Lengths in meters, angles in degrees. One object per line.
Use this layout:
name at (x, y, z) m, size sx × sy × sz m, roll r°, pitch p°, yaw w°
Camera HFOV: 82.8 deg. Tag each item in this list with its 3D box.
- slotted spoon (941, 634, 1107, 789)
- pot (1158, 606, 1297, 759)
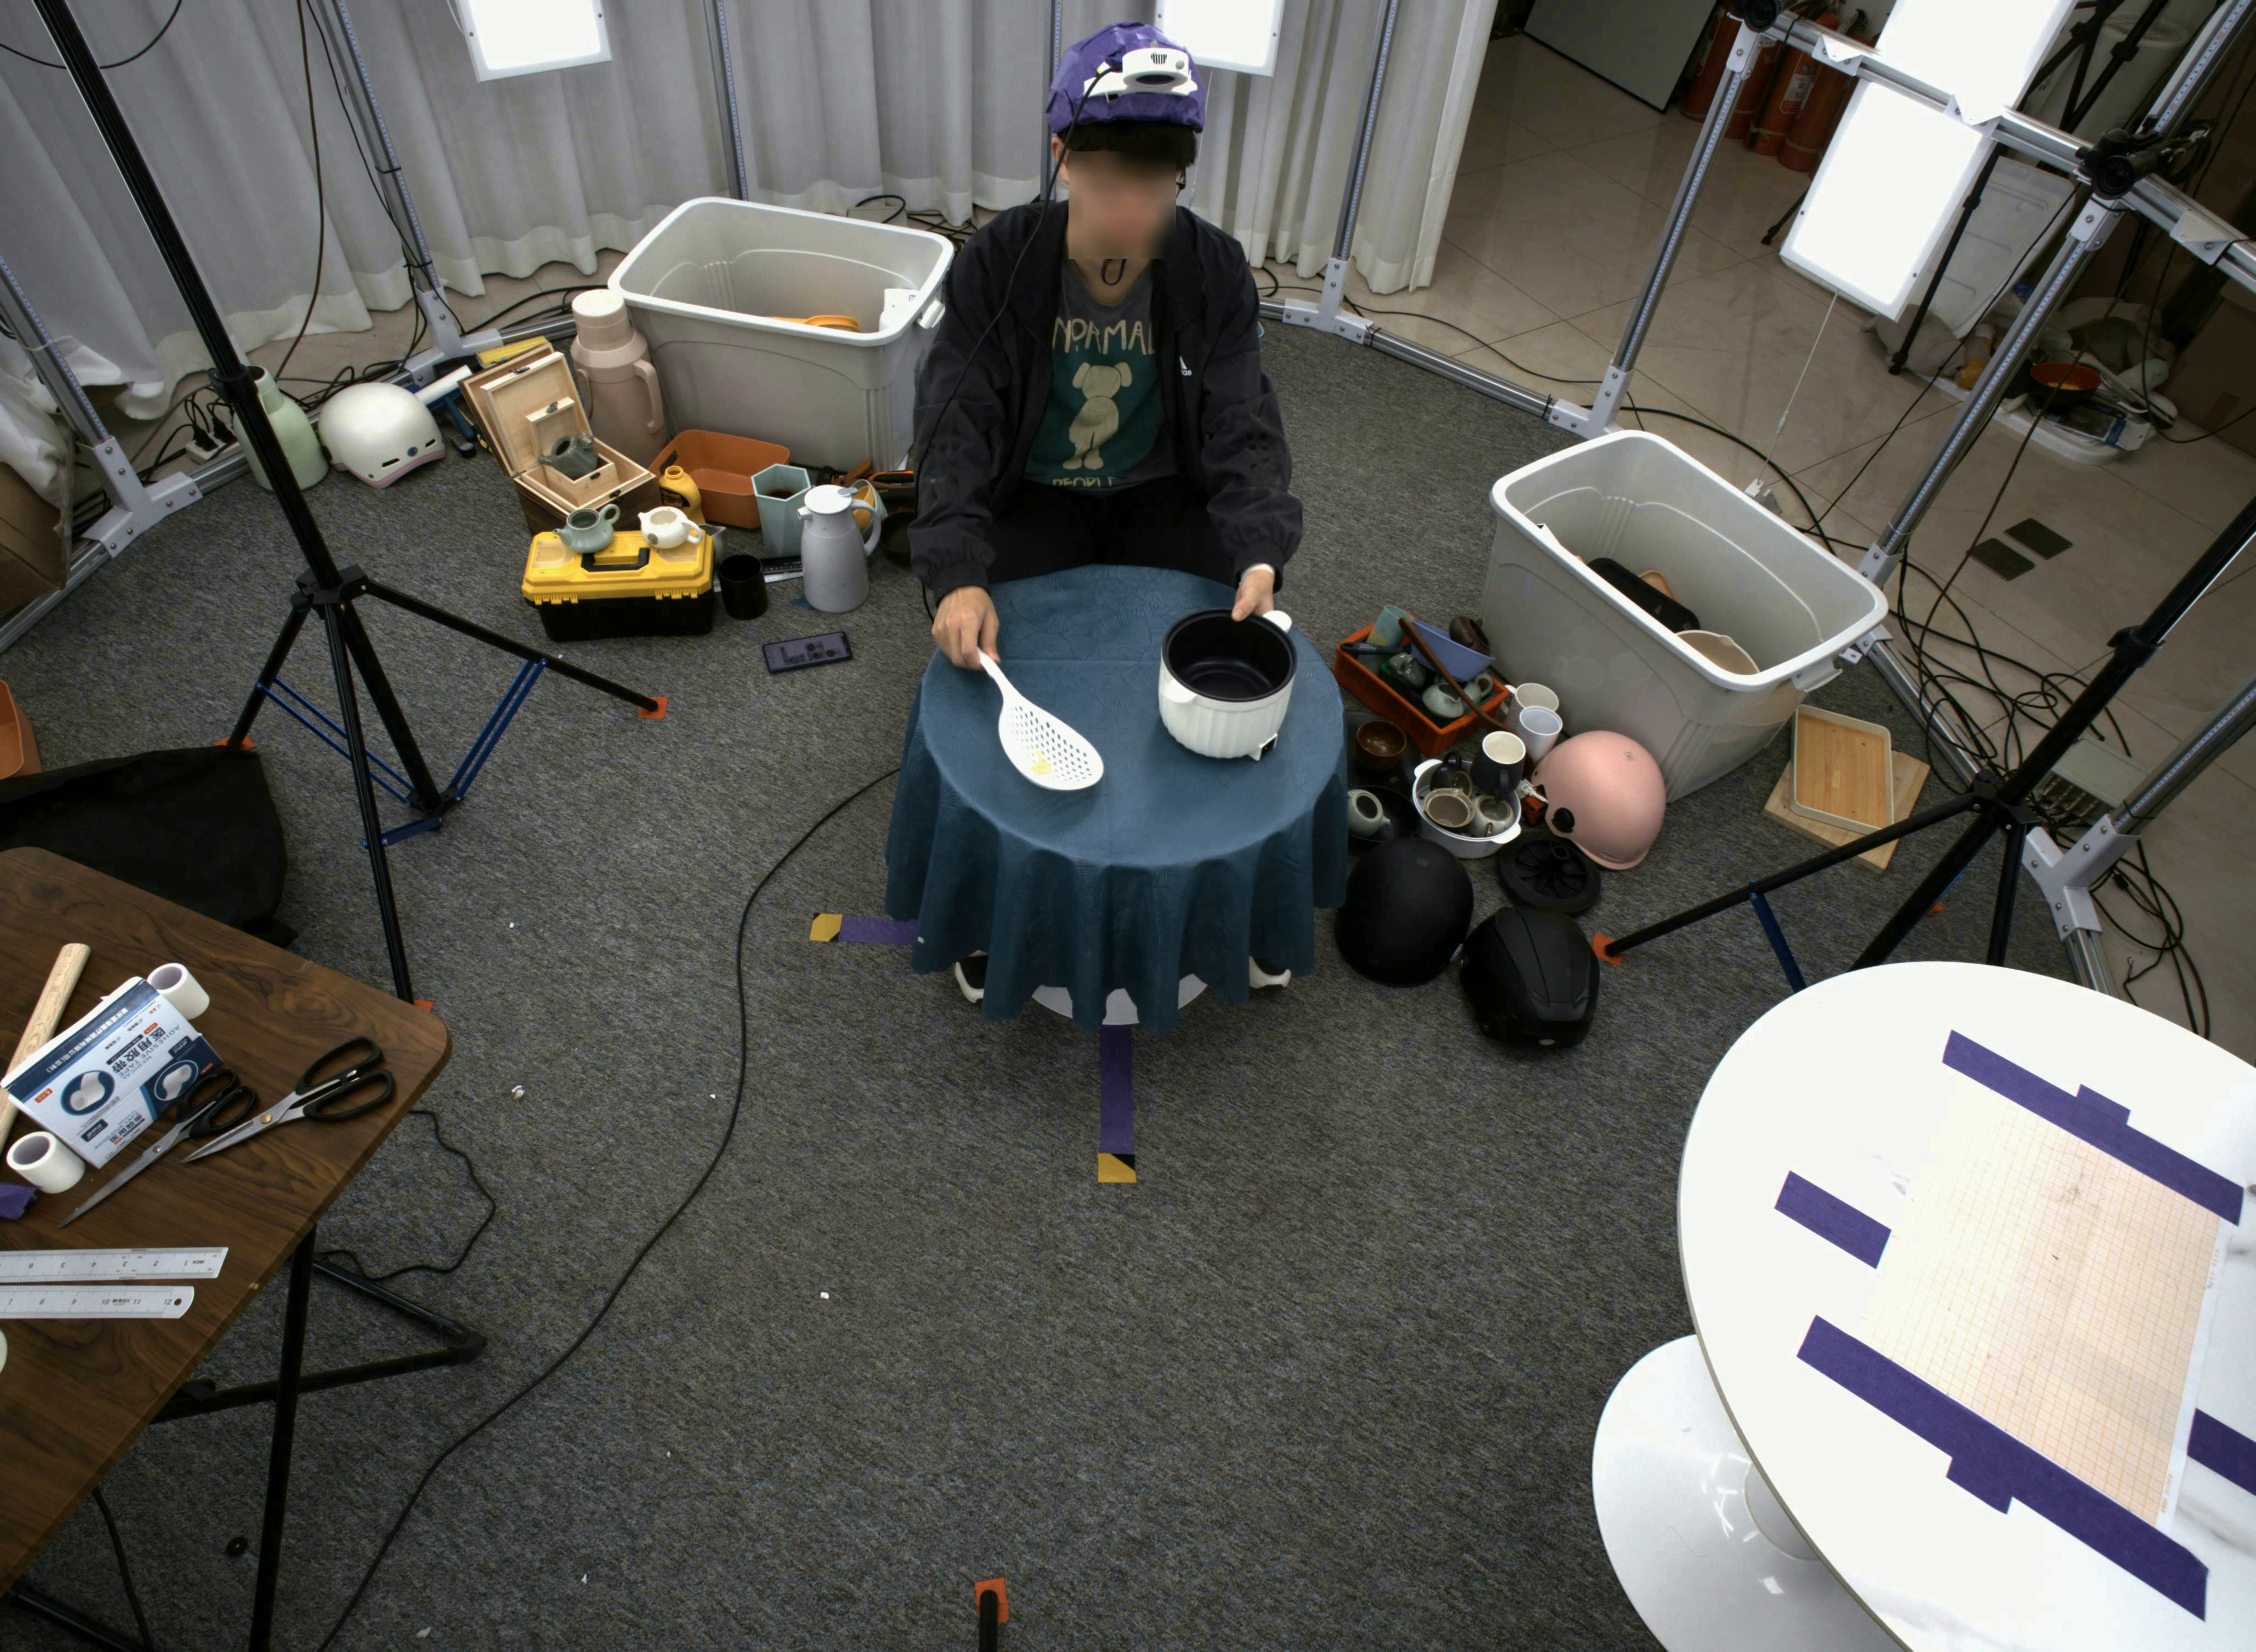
slotted spoon at (-0.158, -0.164, 1.745) m, size 0.137 × 0.049 × 0.355 m, roll -12°, pitch 53°, yaw -36°
pot at (0.125, -0.191, 1.750) m, size 0.193 × 0.139 × 0.243 m, roll 38°, pitch 56°, yaw 23°
